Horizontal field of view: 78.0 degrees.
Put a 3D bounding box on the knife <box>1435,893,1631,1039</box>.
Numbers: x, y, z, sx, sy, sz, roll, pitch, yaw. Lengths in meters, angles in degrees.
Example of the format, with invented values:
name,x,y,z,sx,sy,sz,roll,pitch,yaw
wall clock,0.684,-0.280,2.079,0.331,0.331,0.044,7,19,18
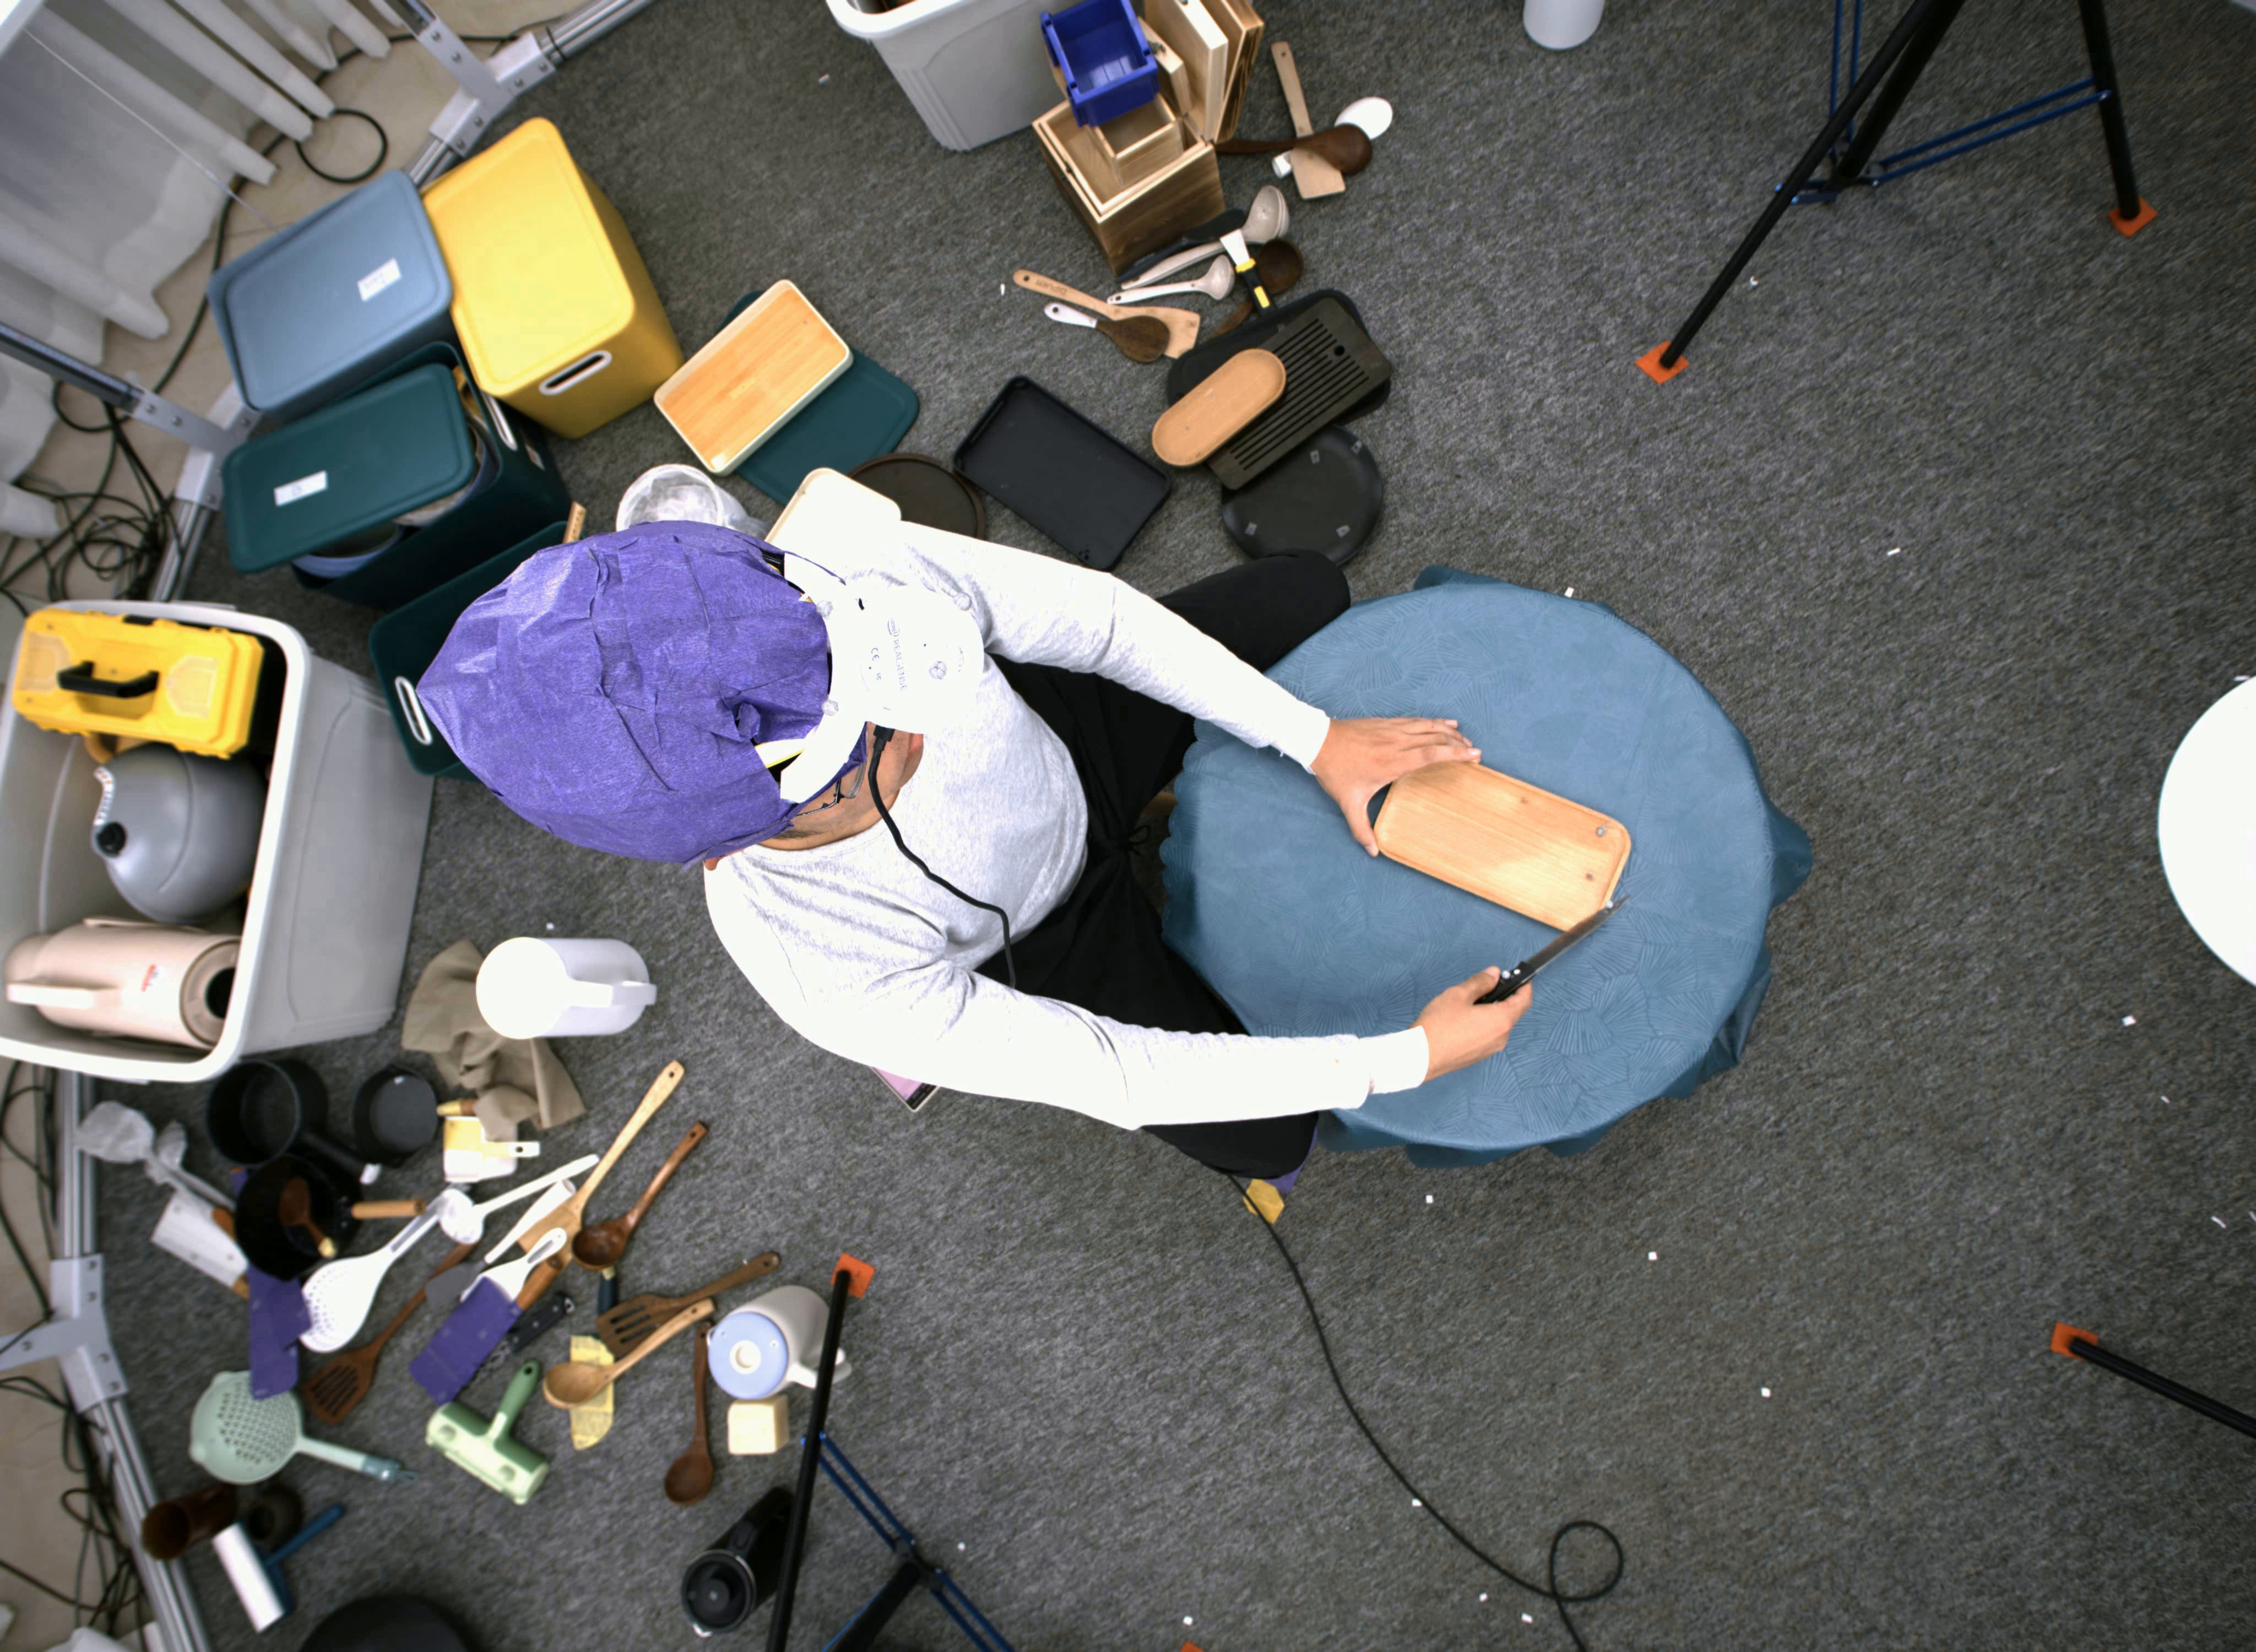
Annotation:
name,x,y,z,sx,sy,sz,roll,pitch,yaw
knife,0.399,0.133,1.342,0.238,0.024,0.016,-36,122,-1

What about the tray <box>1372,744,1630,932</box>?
name,x,y,z,sx,sy,sz,roll,pitch,yaw
tray,0.387,0.010,1.433,0.250,0.023,0.130,24,89,12
